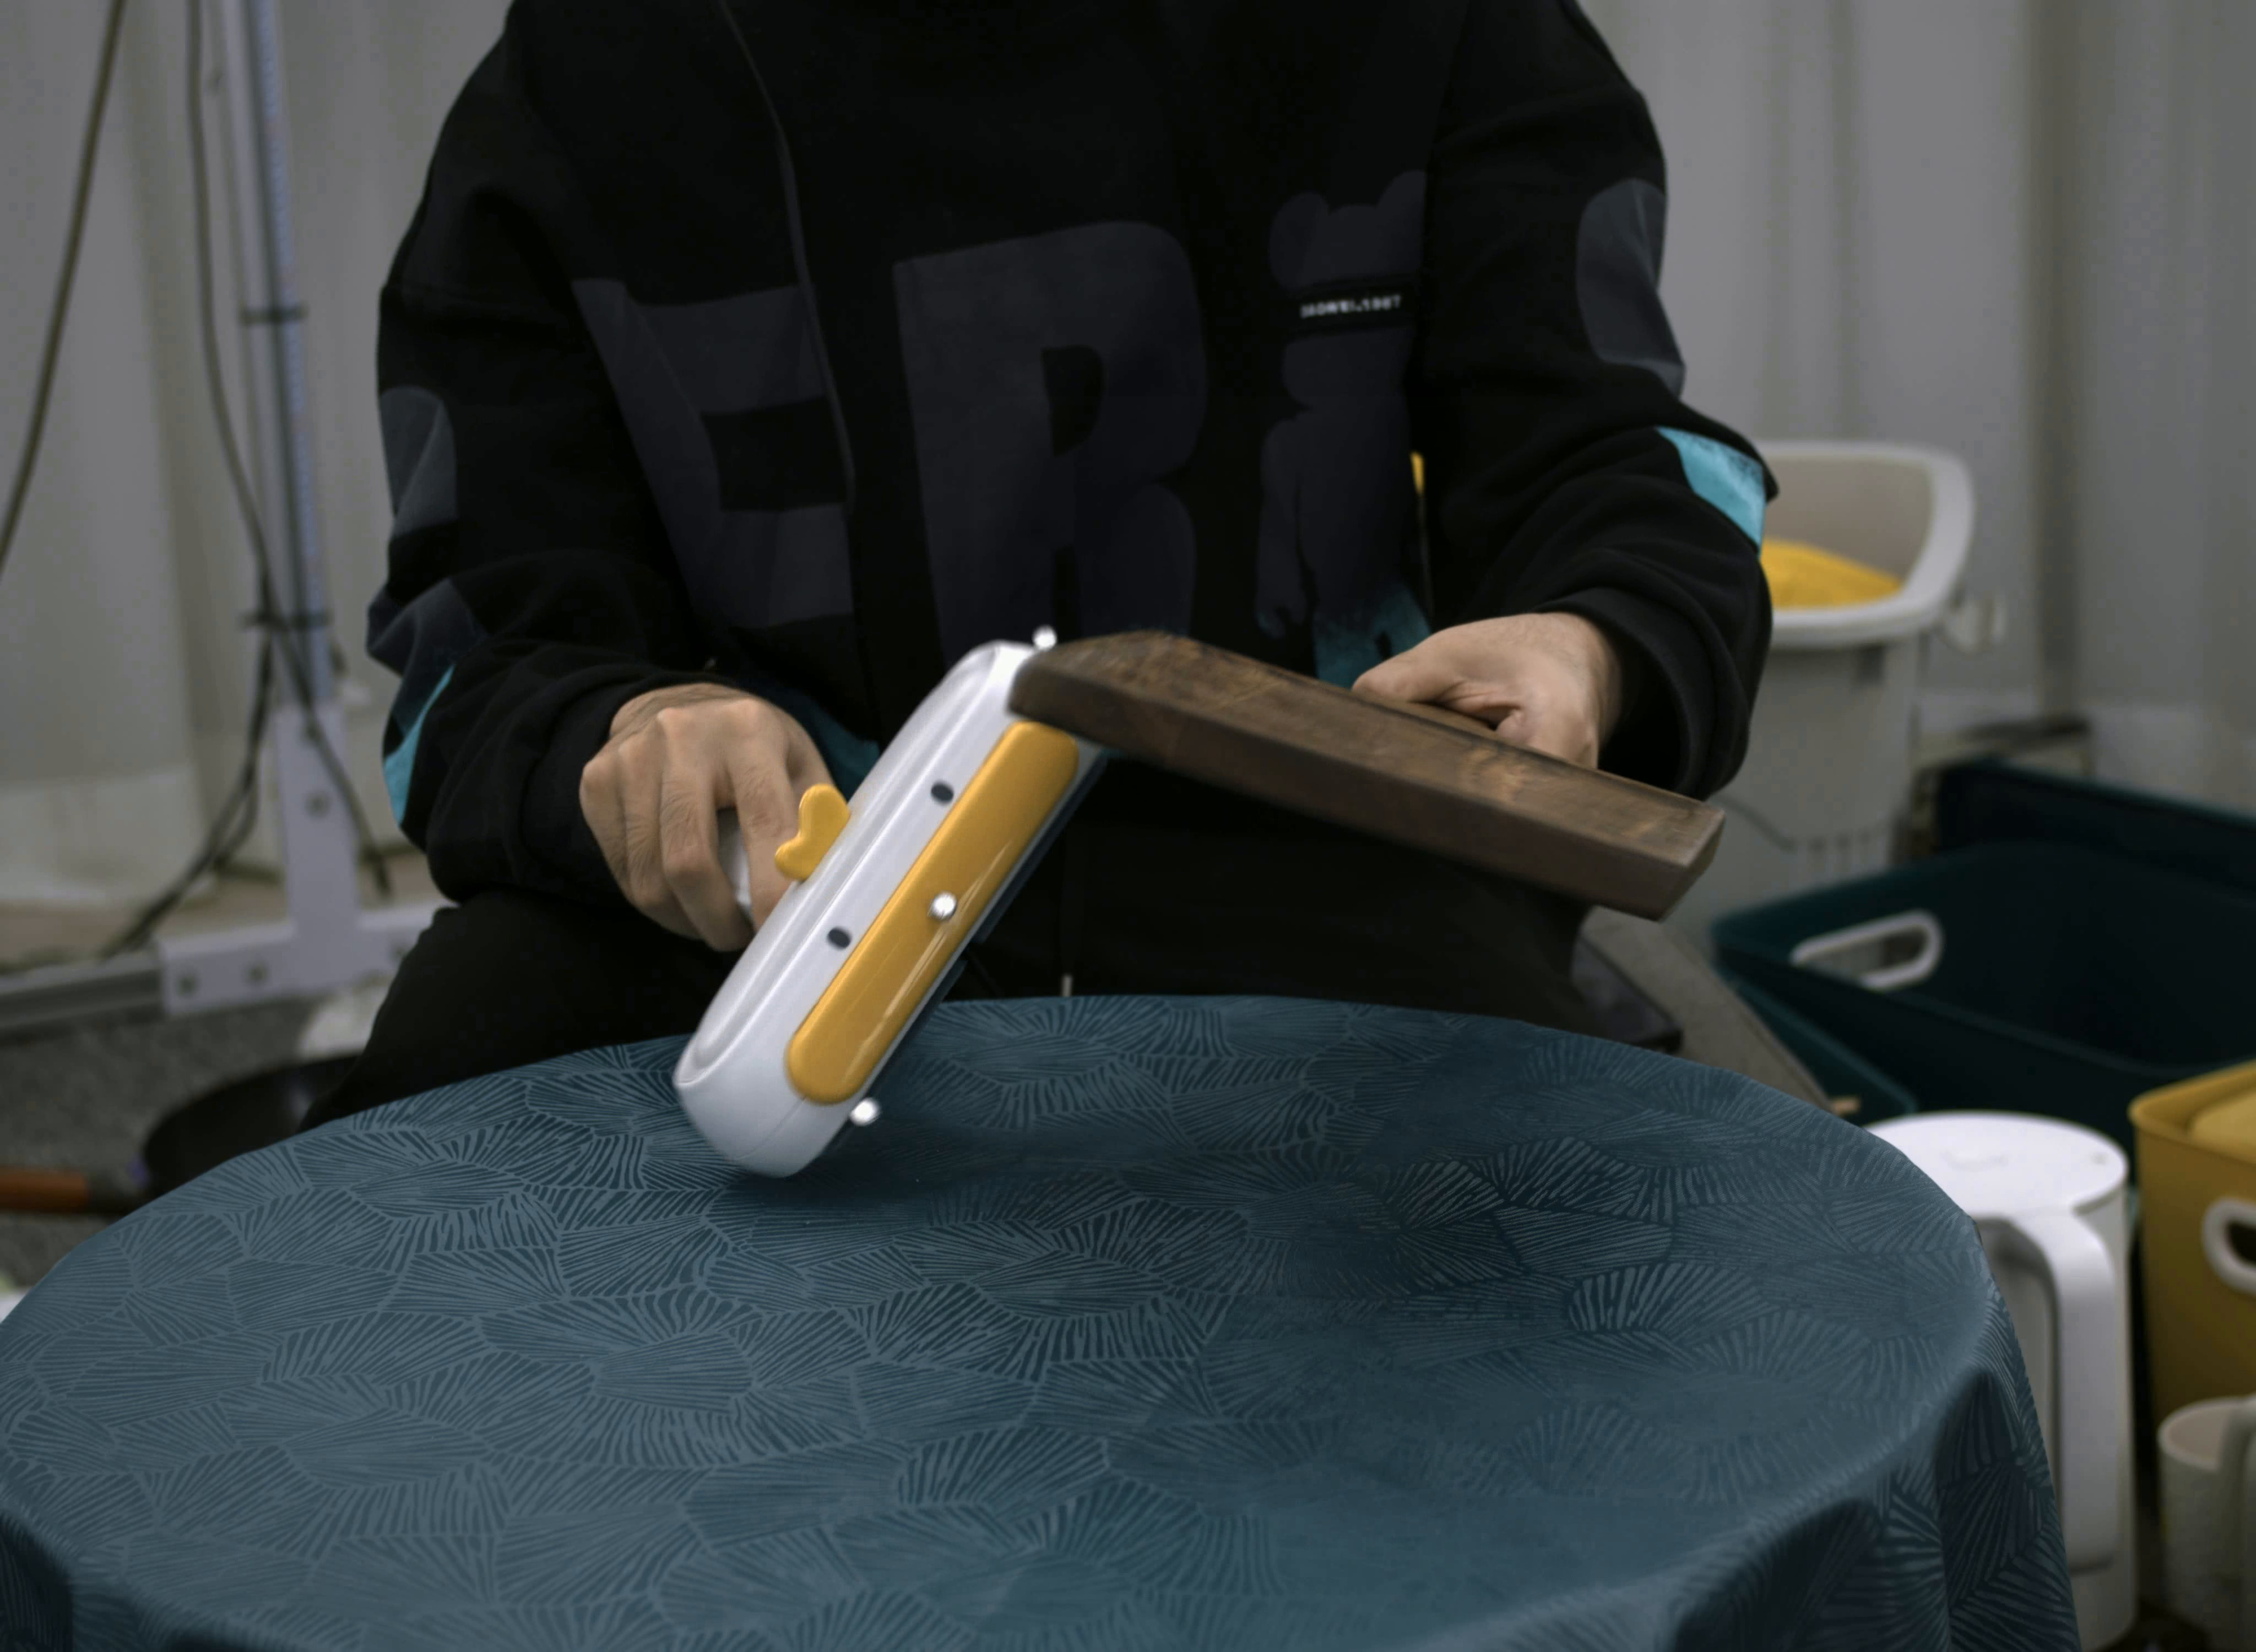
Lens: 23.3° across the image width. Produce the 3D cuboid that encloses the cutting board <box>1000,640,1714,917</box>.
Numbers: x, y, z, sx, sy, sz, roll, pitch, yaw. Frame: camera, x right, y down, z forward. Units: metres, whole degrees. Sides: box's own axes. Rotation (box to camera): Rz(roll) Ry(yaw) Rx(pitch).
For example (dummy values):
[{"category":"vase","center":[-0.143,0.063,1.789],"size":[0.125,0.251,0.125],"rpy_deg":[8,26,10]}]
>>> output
[{"category":"cutting board","center":[0.081,-0.020,1.674],"size":[0.201,0.023,0.352],"rpy_deg":[16,5,7]}]

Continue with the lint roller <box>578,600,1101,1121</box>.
[{"category":"lint roller","center":[-0.111,0.010,1.782],"size":[0.192,0.073,0.194],"rpy_deg":[-9,44,57]}]
